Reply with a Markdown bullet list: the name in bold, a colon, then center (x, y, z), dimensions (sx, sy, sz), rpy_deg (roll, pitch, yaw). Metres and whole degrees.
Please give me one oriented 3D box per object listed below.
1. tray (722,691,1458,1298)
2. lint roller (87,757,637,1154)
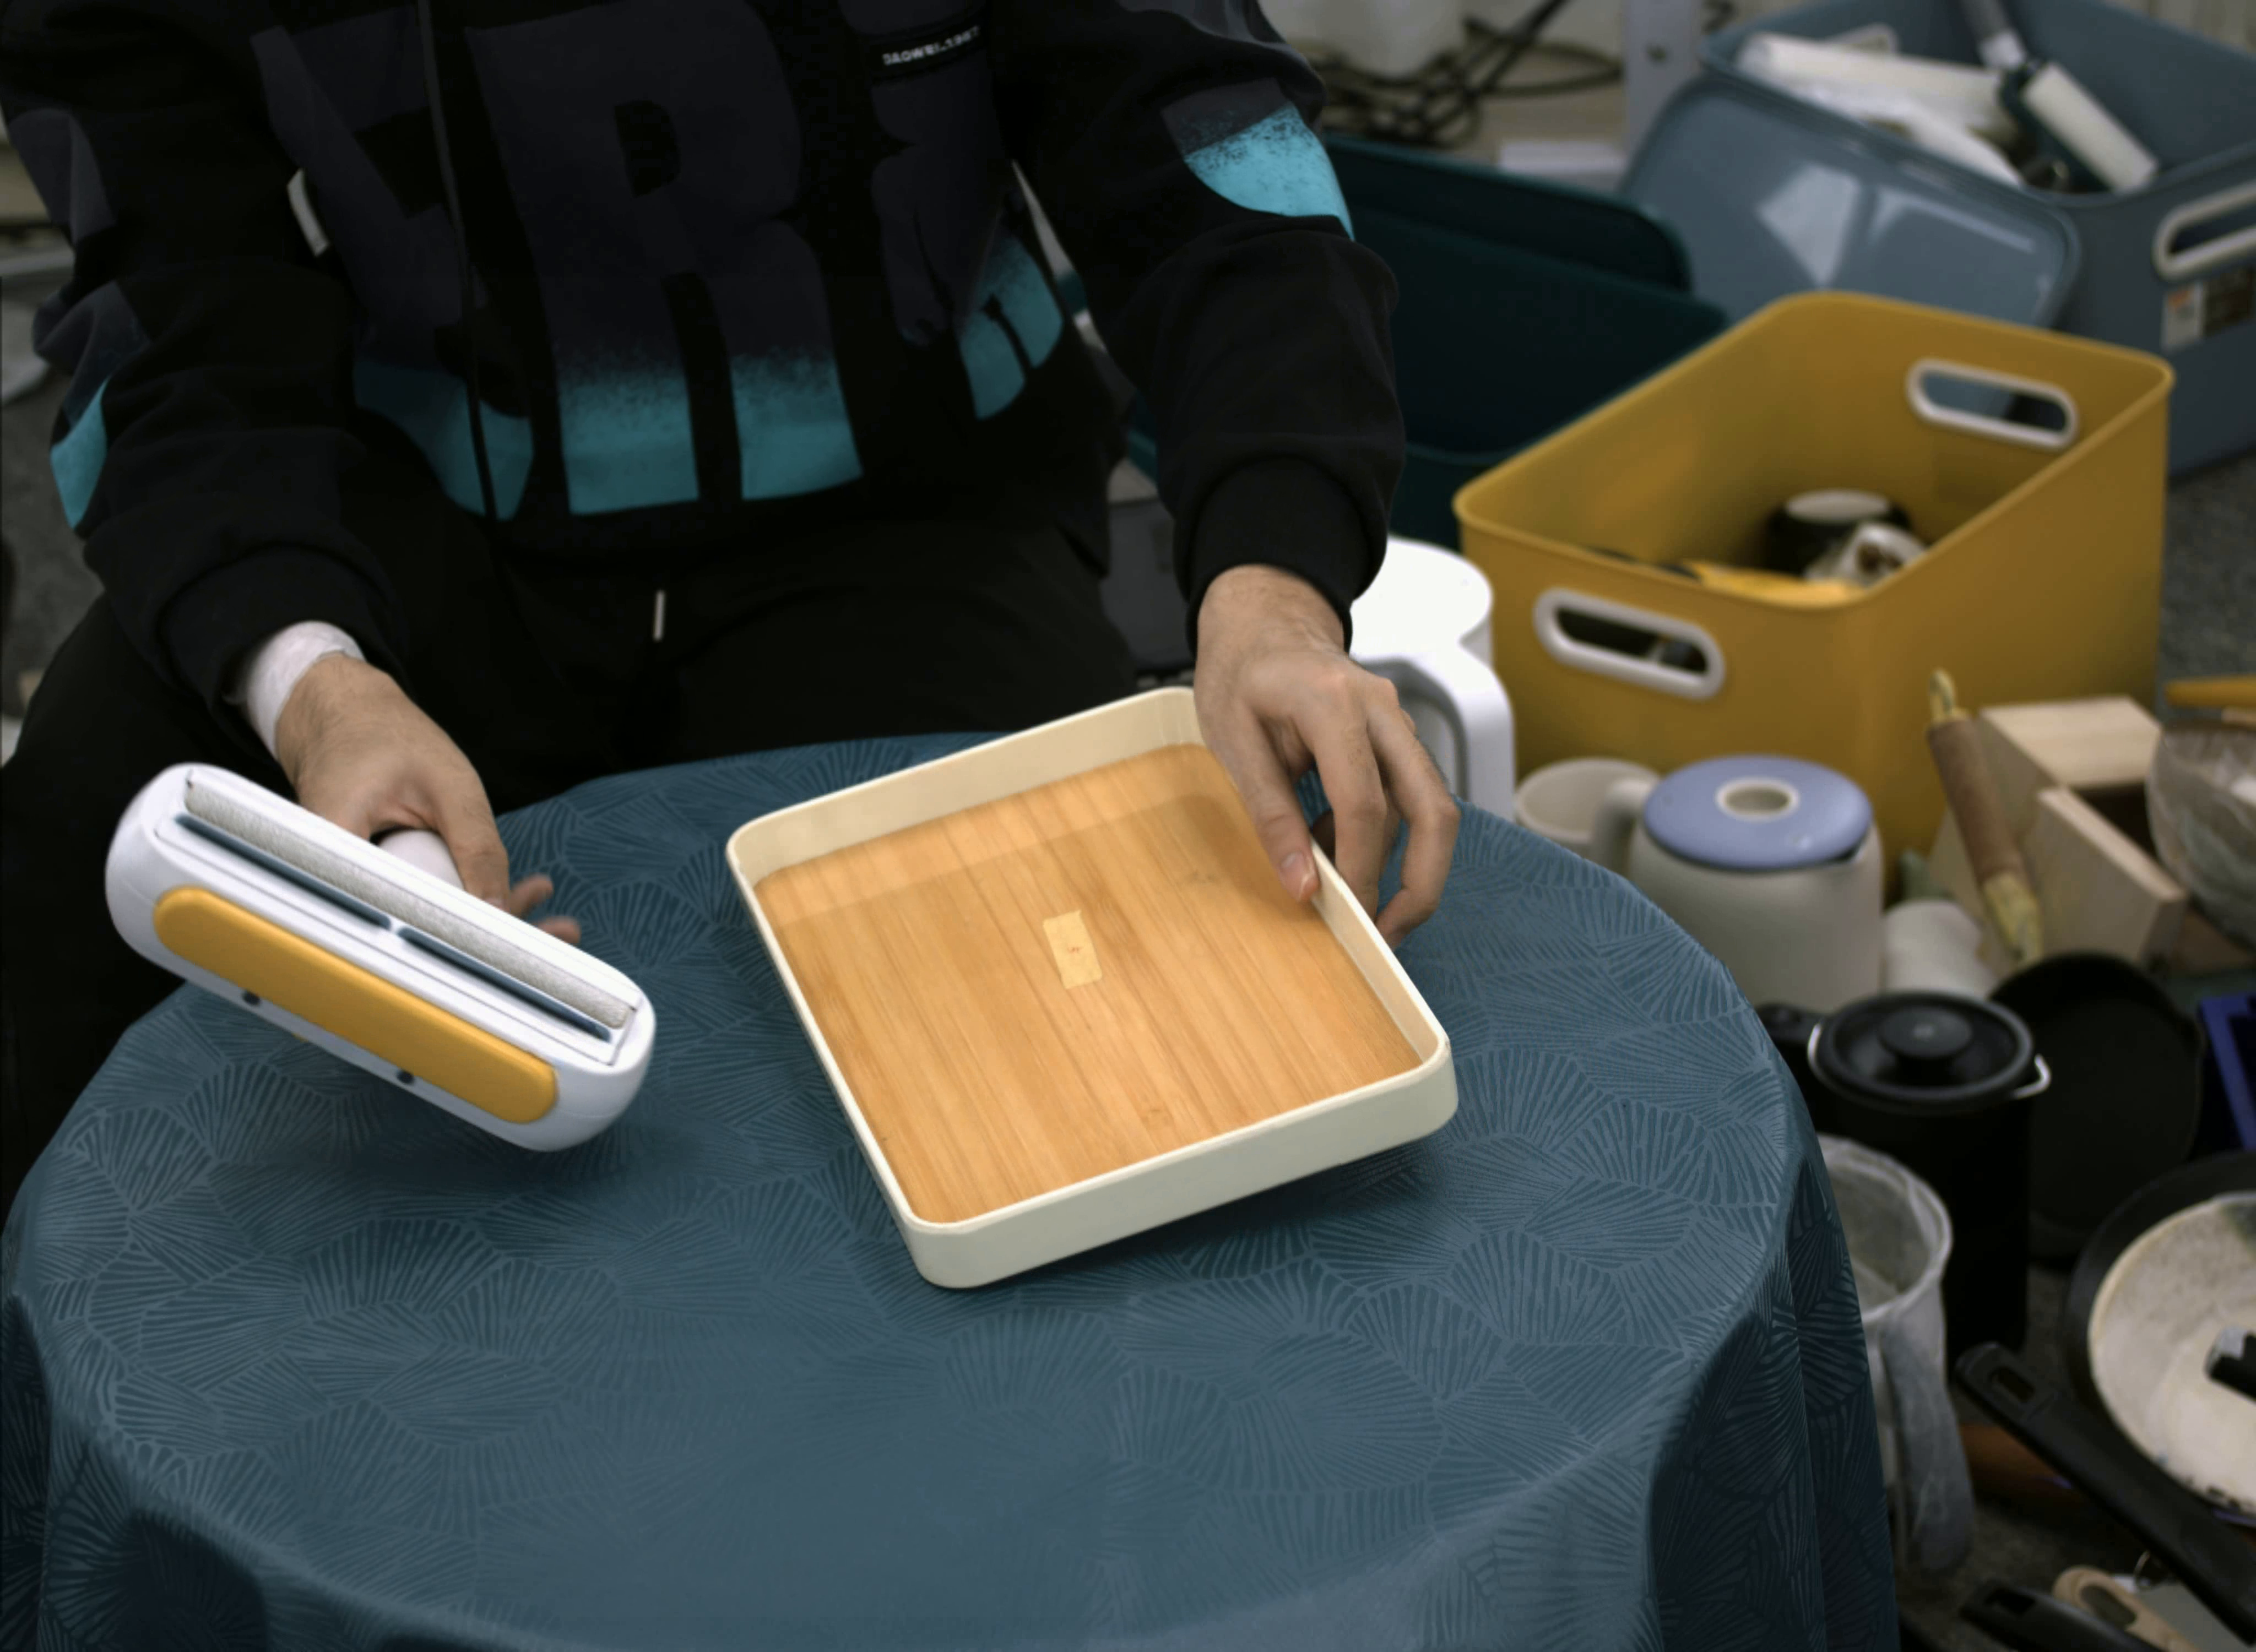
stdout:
- **tray**: center (-0.019, 0.052, 1.942), dimensions (0.191, 0.027, 0.303), rpy_deg (-18, 30, -9)
- **lint roller**: center (-0.250, 0.028, 1.930), dimensions (0.192, 0.073, 0.195), rpy_deg (24, 24, -2)
